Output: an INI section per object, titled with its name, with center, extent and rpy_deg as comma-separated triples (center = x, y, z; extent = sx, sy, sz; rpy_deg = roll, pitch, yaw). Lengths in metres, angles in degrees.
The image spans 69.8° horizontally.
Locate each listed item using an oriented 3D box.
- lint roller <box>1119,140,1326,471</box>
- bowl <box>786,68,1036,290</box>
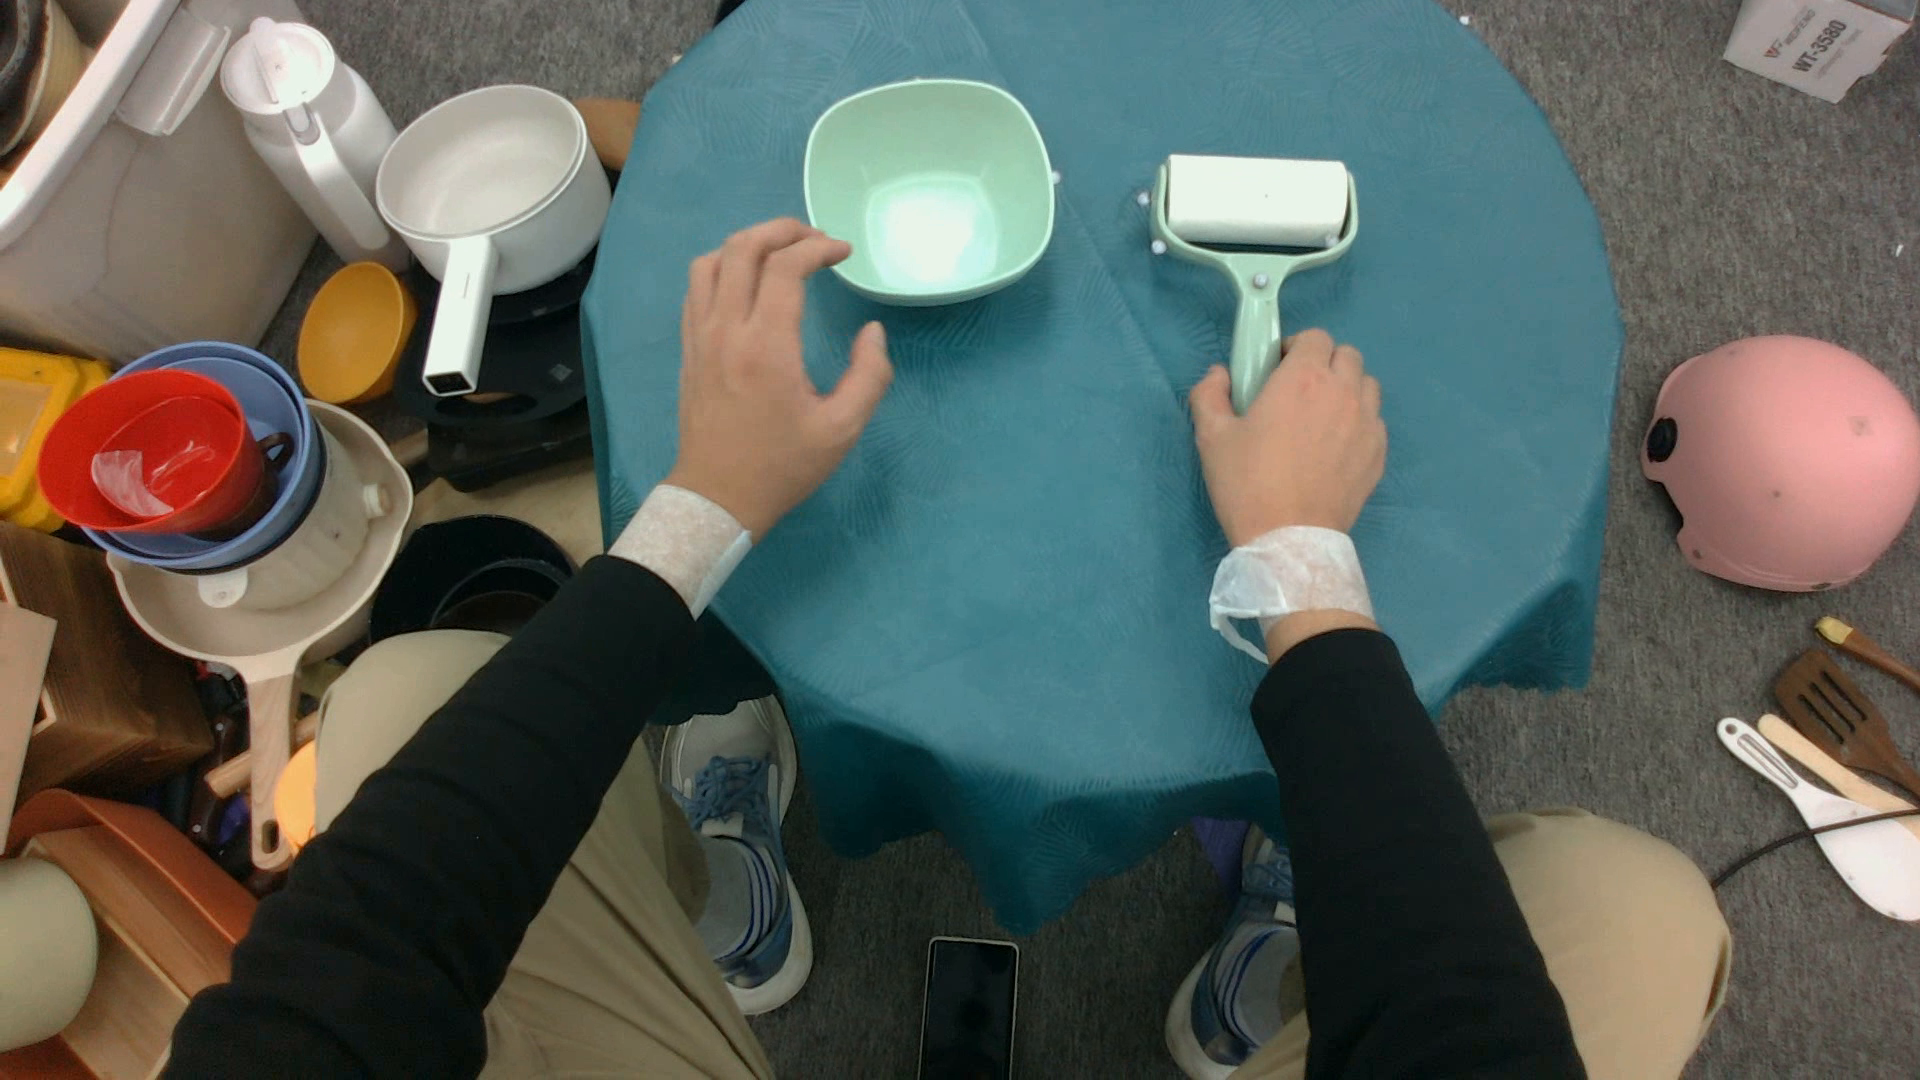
[lint roller]
center = 0.149, -0.138, 0.781
extent = 0.116, 0.048, 0.198
rpy_deg = 3, 72, -1
[bowl]
center = -0.028, -0.197, 0.792
extent = 0.151, 0.058, 0.152
rpy_deg = 1, 69, -2
